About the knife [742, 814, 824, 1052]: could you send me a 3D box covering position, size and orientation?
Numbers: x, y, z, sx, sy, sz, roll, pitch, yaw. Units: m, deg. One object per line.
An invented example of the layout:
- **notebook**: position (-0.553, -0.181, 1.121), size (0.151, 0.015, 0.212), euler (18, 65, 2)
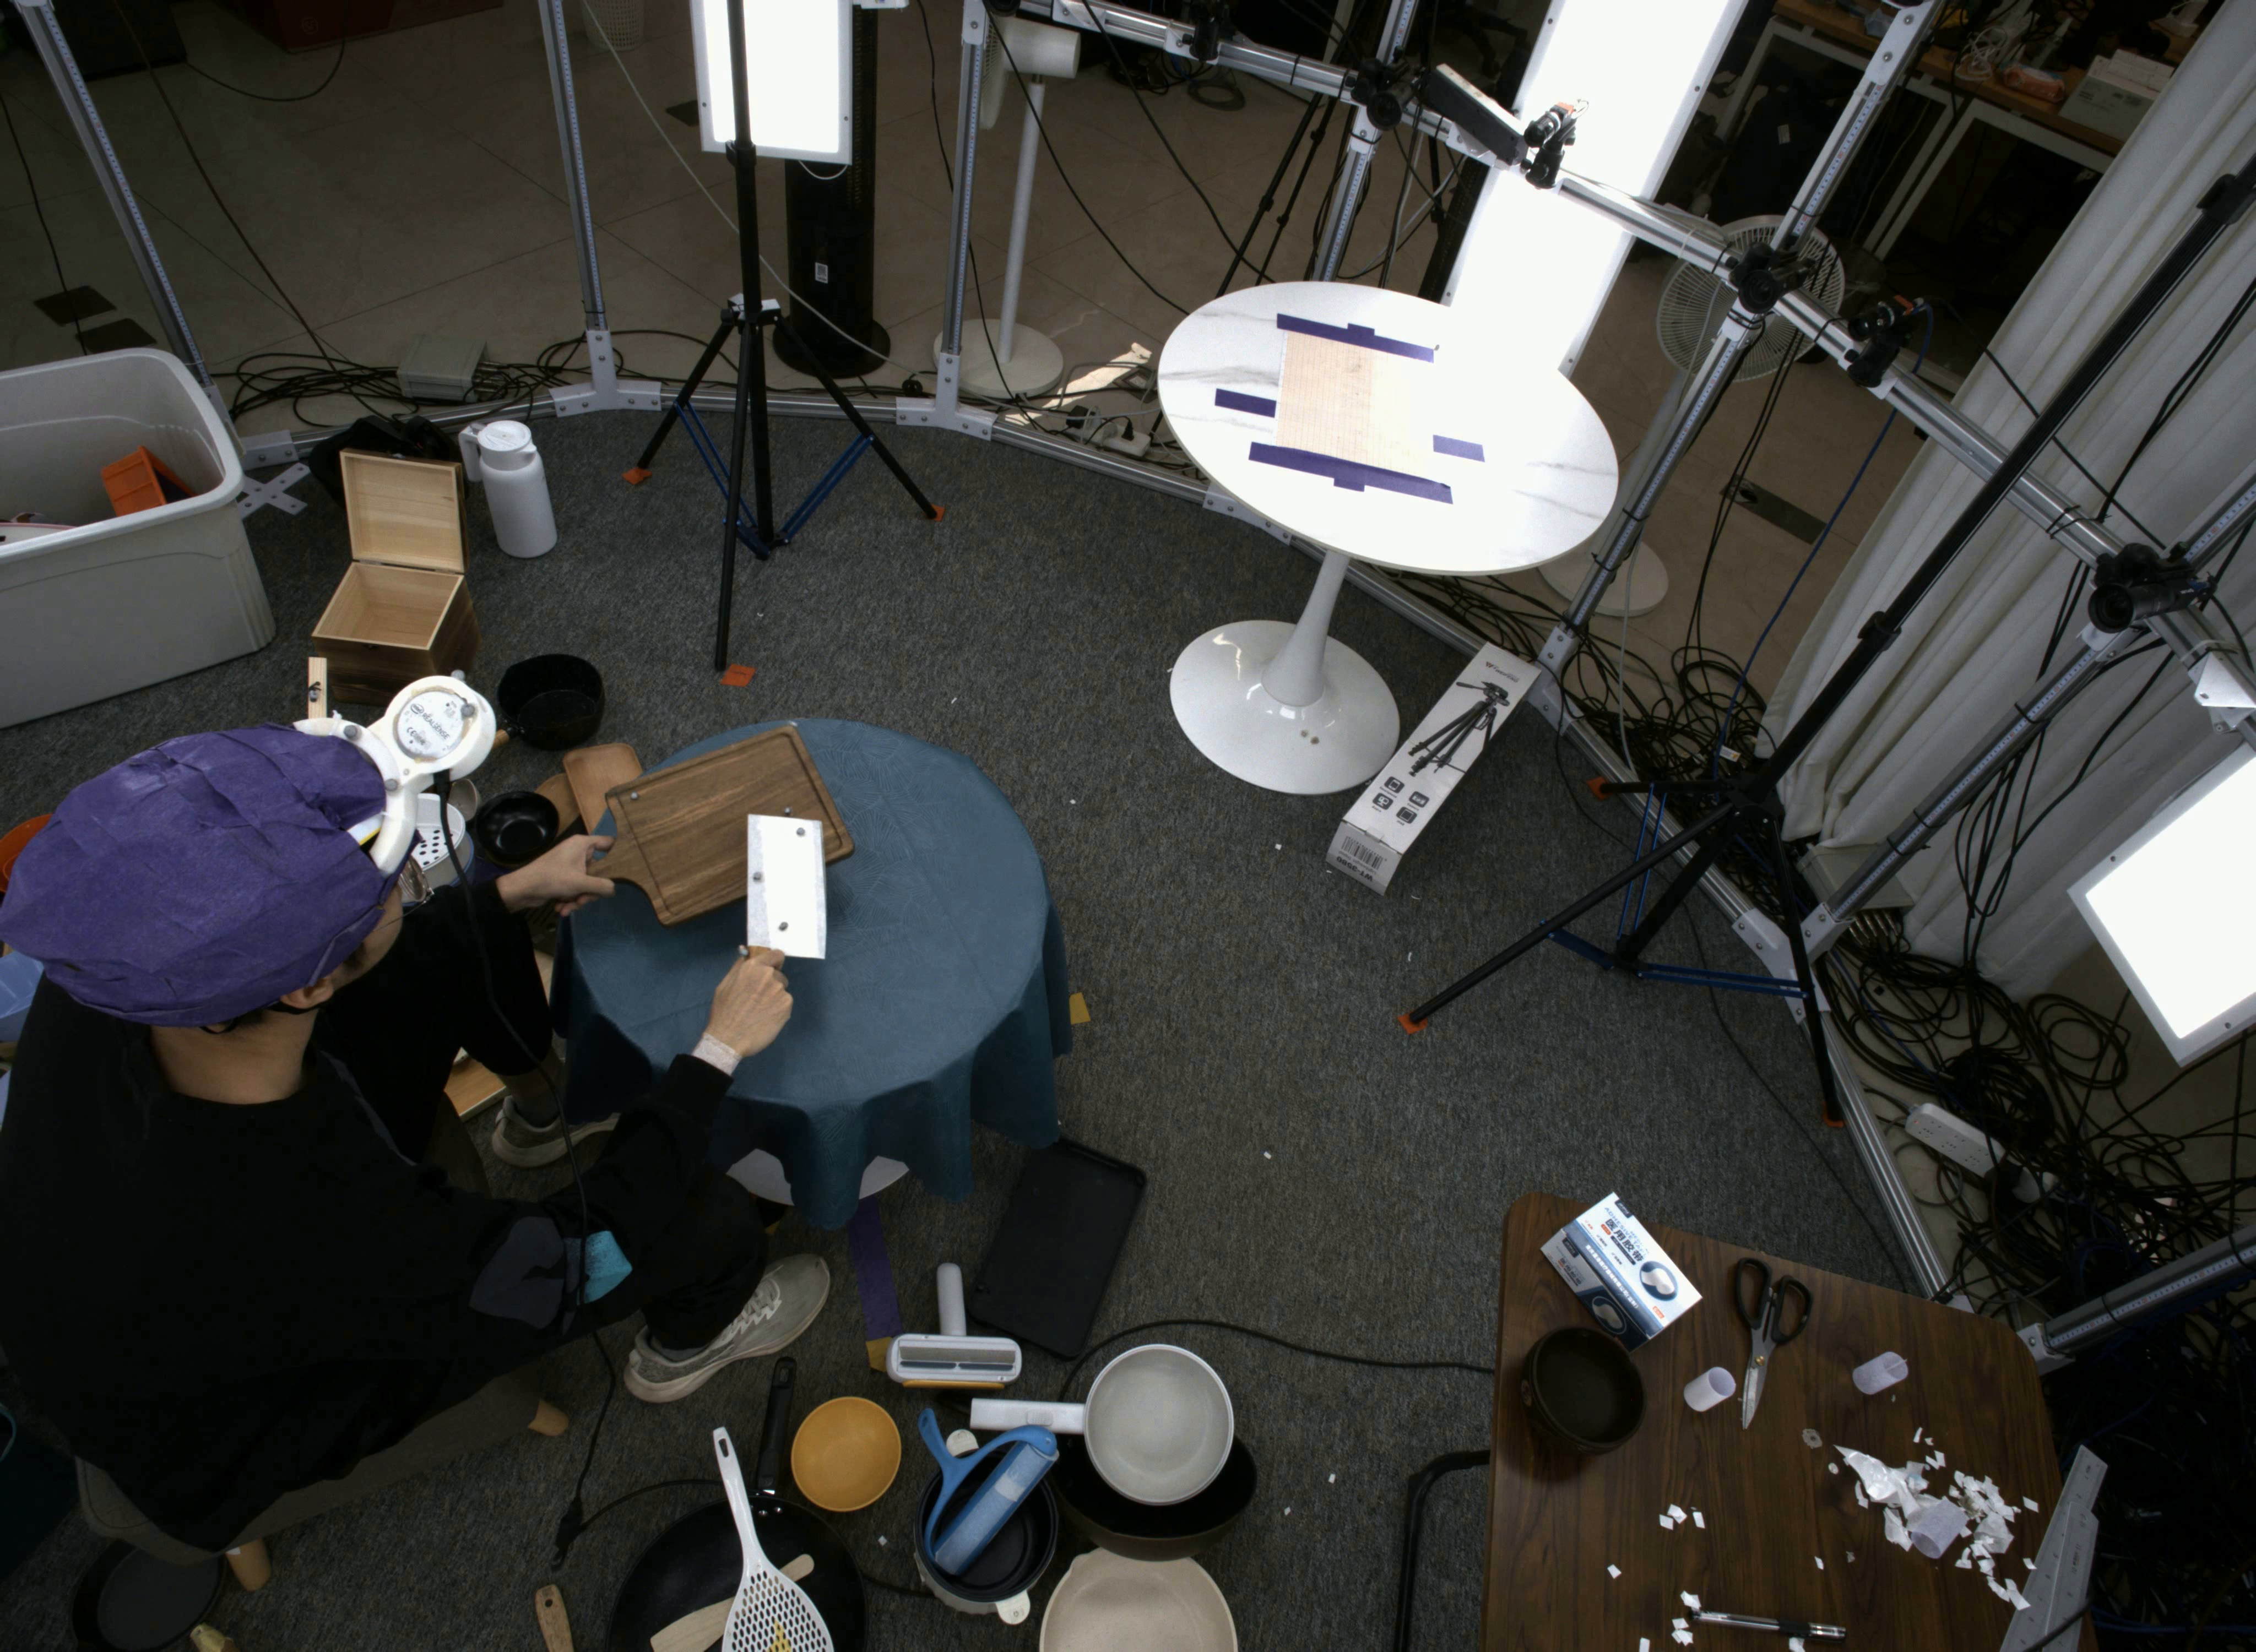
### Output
- **knife**: position (-0.396, 0.114, 1.484), size (0.094, 0.021, 0.300), euler (7, 57, -28)

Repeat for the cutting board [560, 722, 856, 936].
- **cutting board**: position (-0.529, 0.015, 1.563), size (0.353, 0.023, 0.199), euler (-25, 76, -24)
